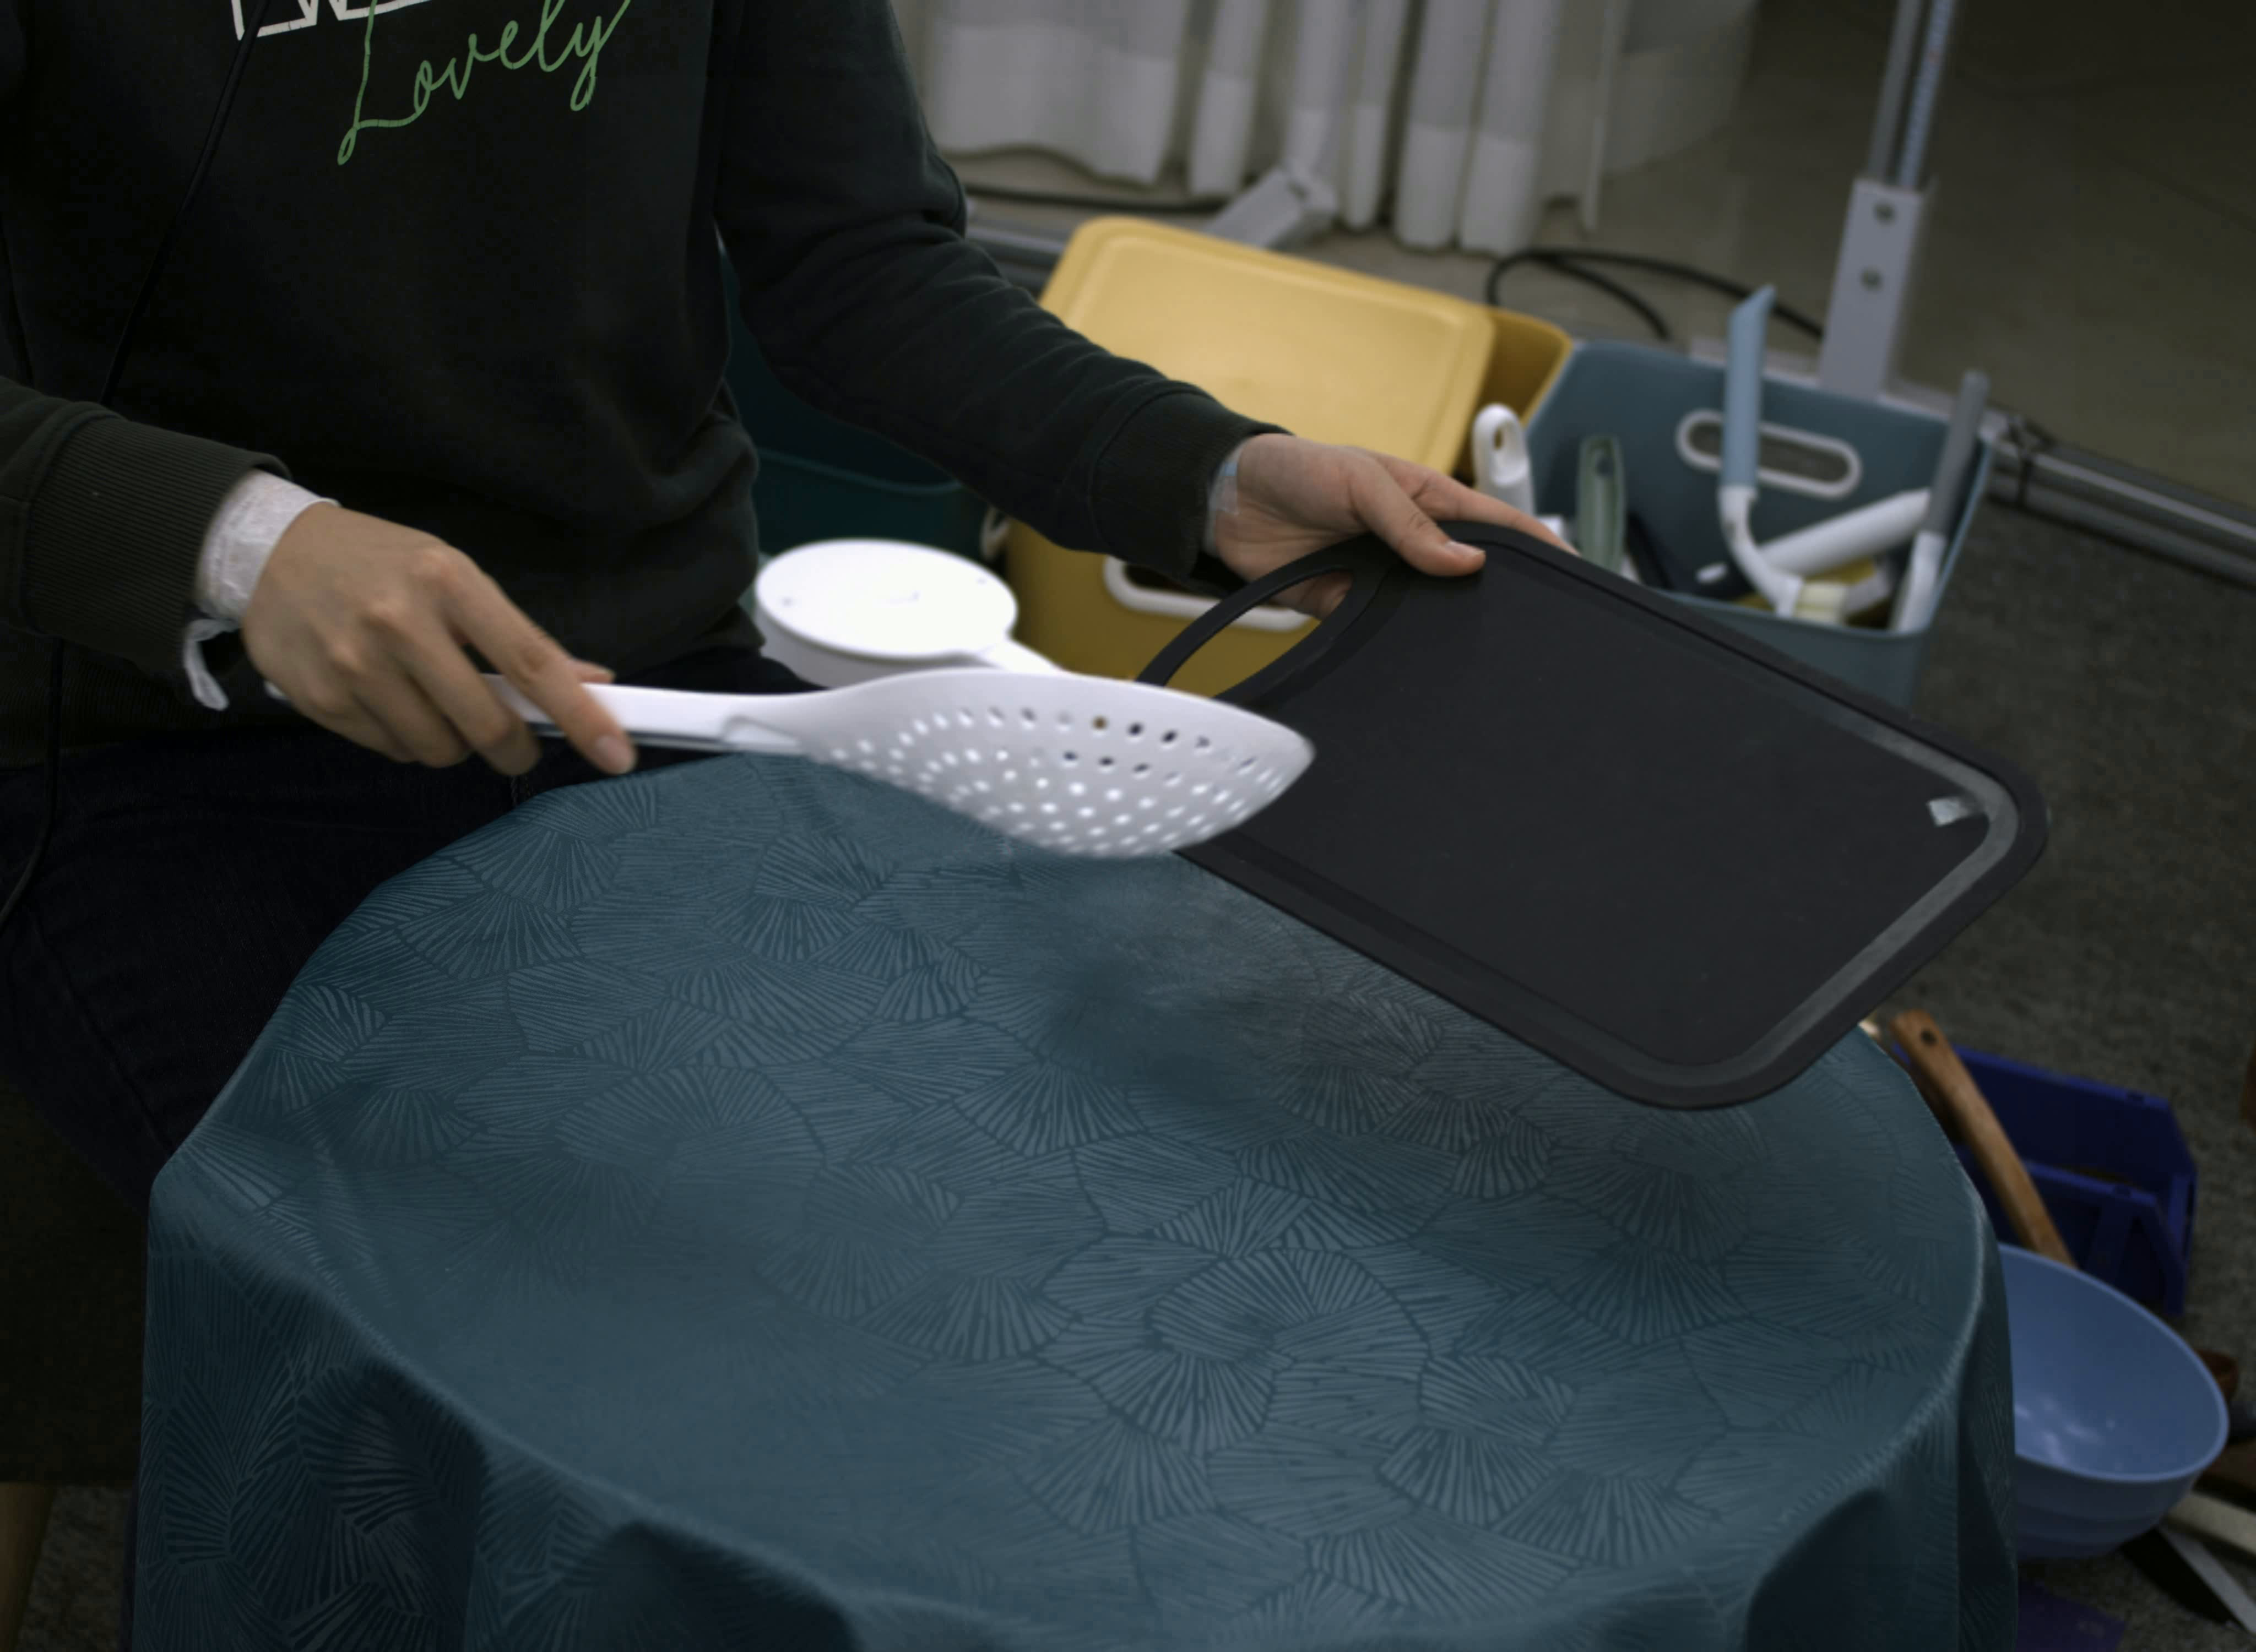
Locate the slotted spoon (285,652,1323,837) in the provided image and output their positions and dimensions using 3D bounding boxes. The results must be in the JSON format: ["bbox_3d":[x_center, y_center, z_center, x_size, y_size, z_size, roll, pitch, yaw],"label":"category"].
[{"bbox_3d":[-0.109,-0.036,1.687,0.350,0.046,0.135,9,-9,21],"label":"slotted spoon"}]

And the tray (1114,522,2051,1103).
[{"bbox_3d":[0.145,-0.015,1.855,0.328,0.010,0.211,29,52,36],"label":"tray"}]
